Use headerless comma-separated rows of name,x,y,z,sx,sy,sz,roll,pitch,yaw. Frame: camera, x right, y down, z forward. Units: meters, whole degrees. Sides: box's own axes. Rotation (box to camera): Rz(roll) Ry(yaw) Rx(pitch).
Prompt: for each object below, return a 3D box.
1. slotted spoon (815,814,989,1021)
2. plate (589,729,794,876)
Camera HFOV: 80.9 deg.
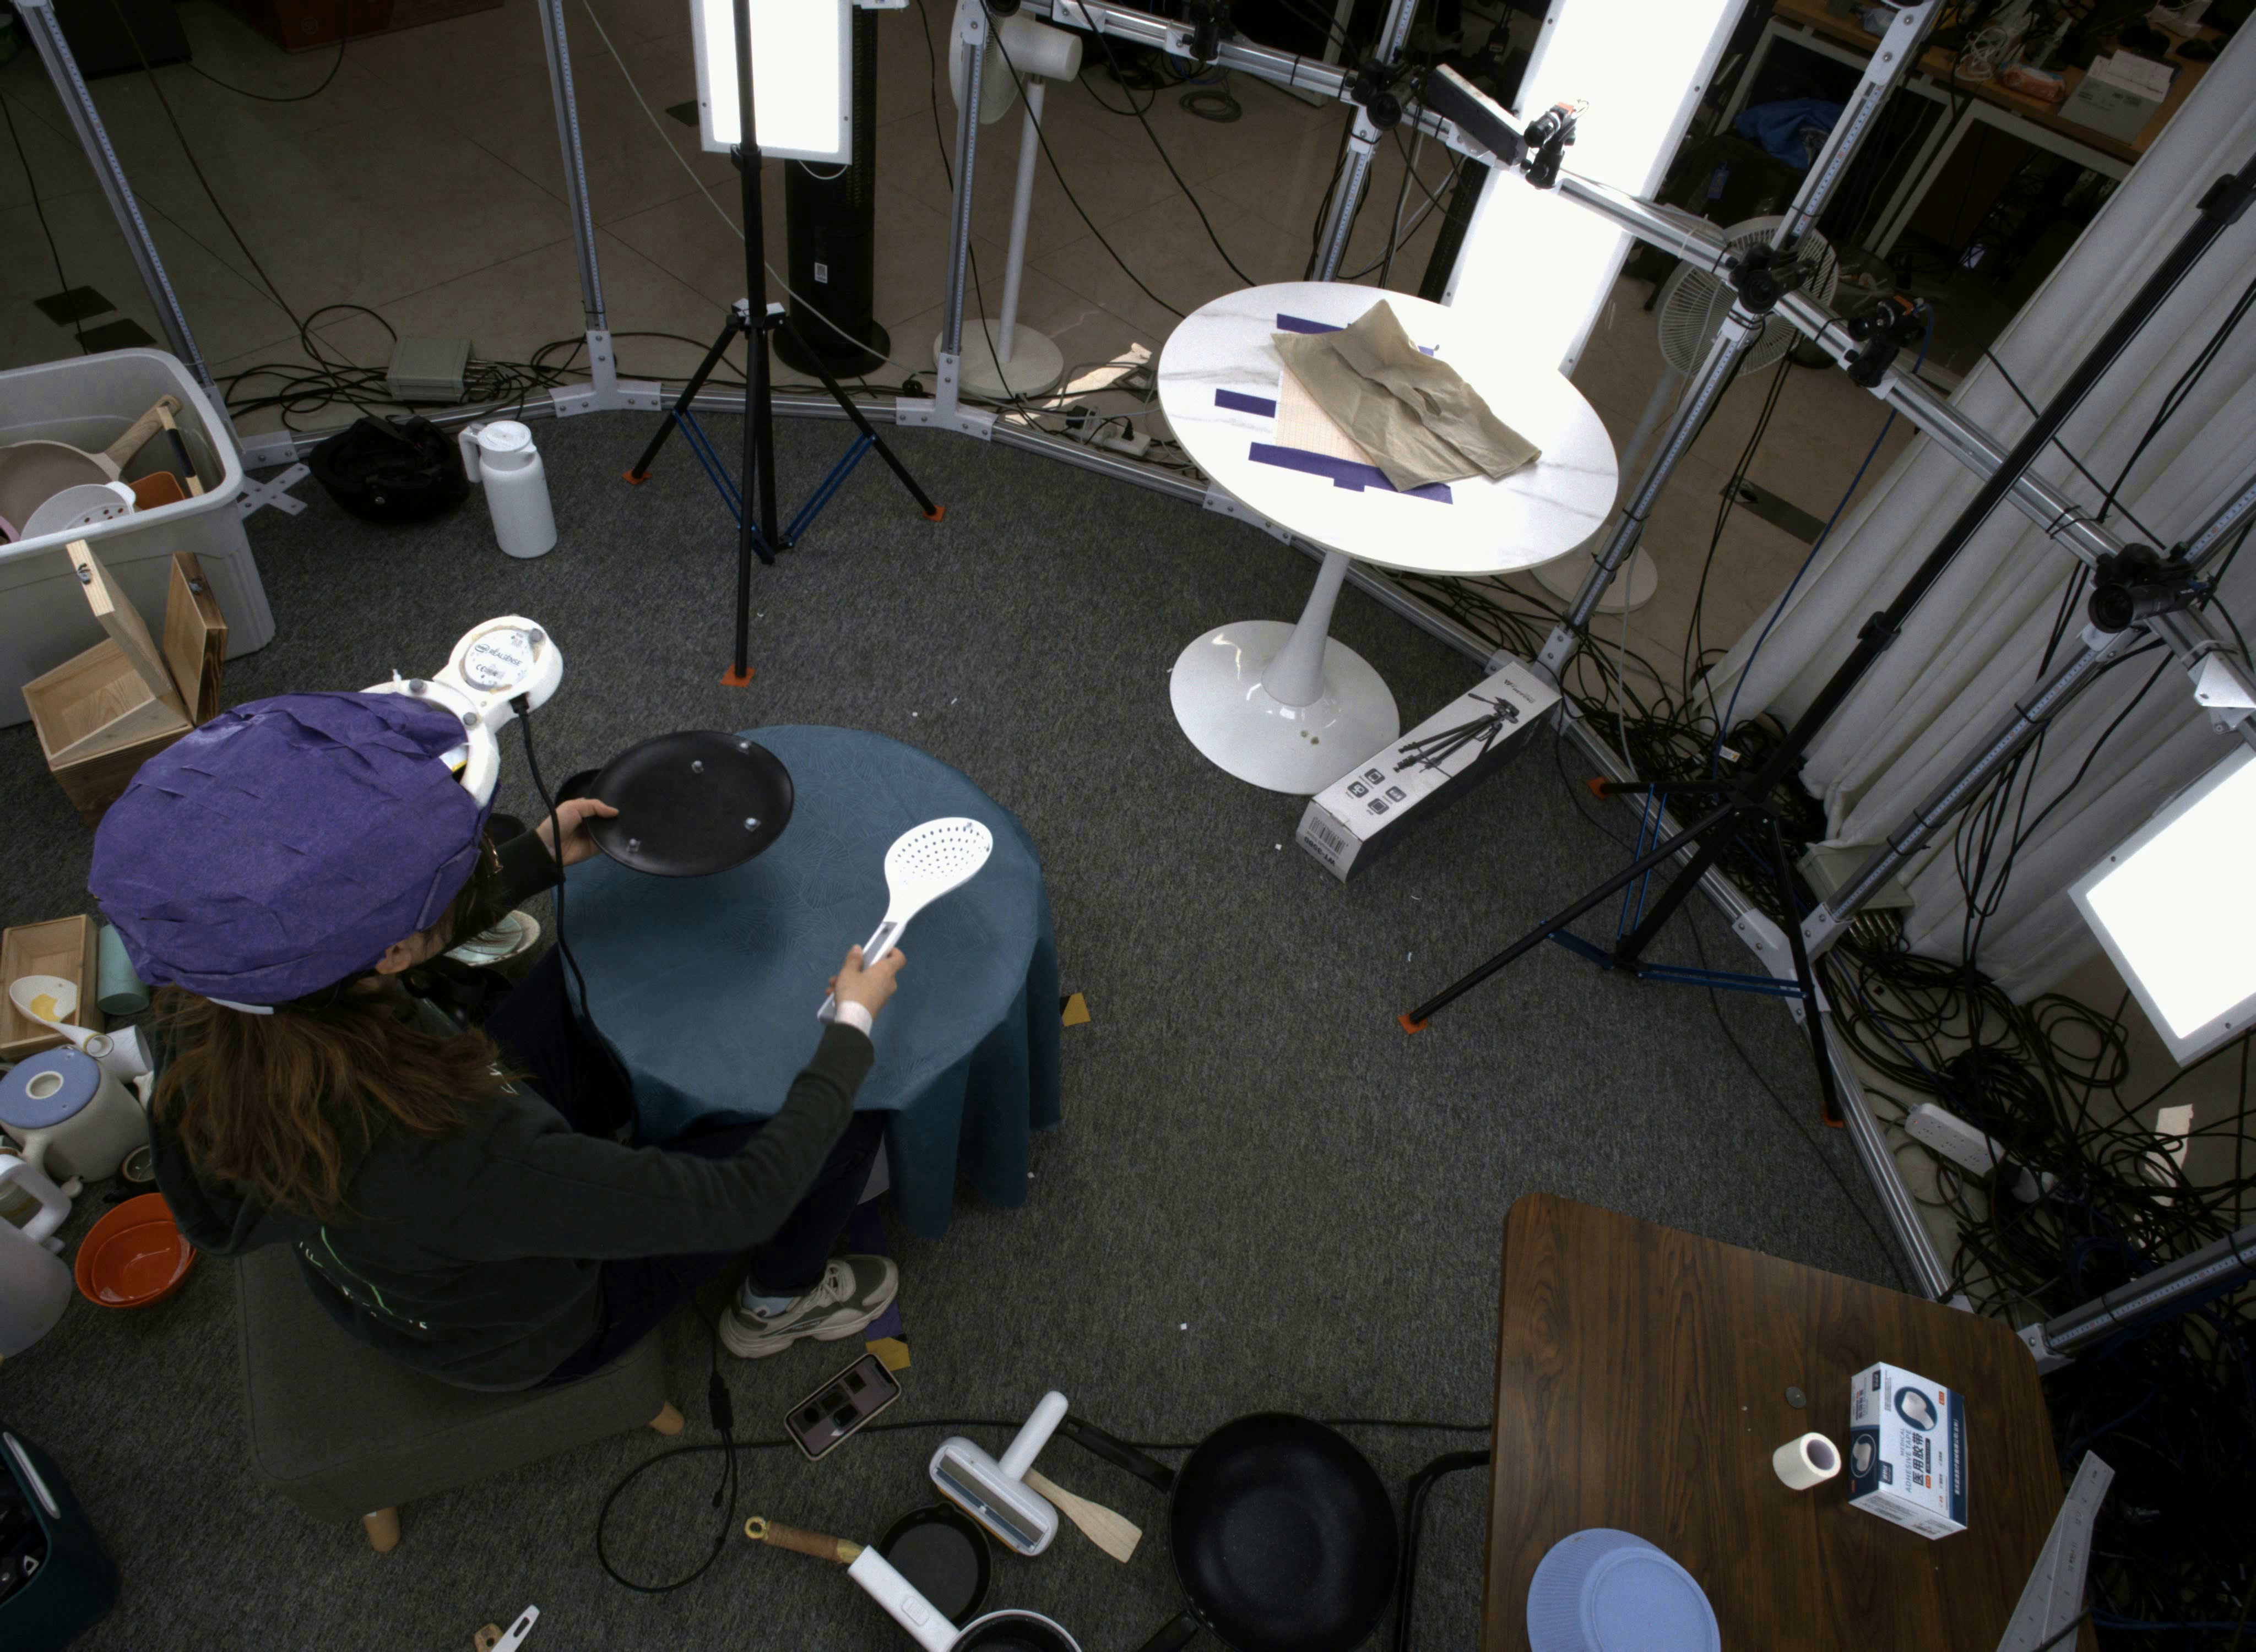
slotted spoon,-0.272,0.099,1.545,0.132,0.047,0.347,4,36,22
plate,-0.521,-0.027,1.535,0.243,0.024,0.239,7,47,-5
